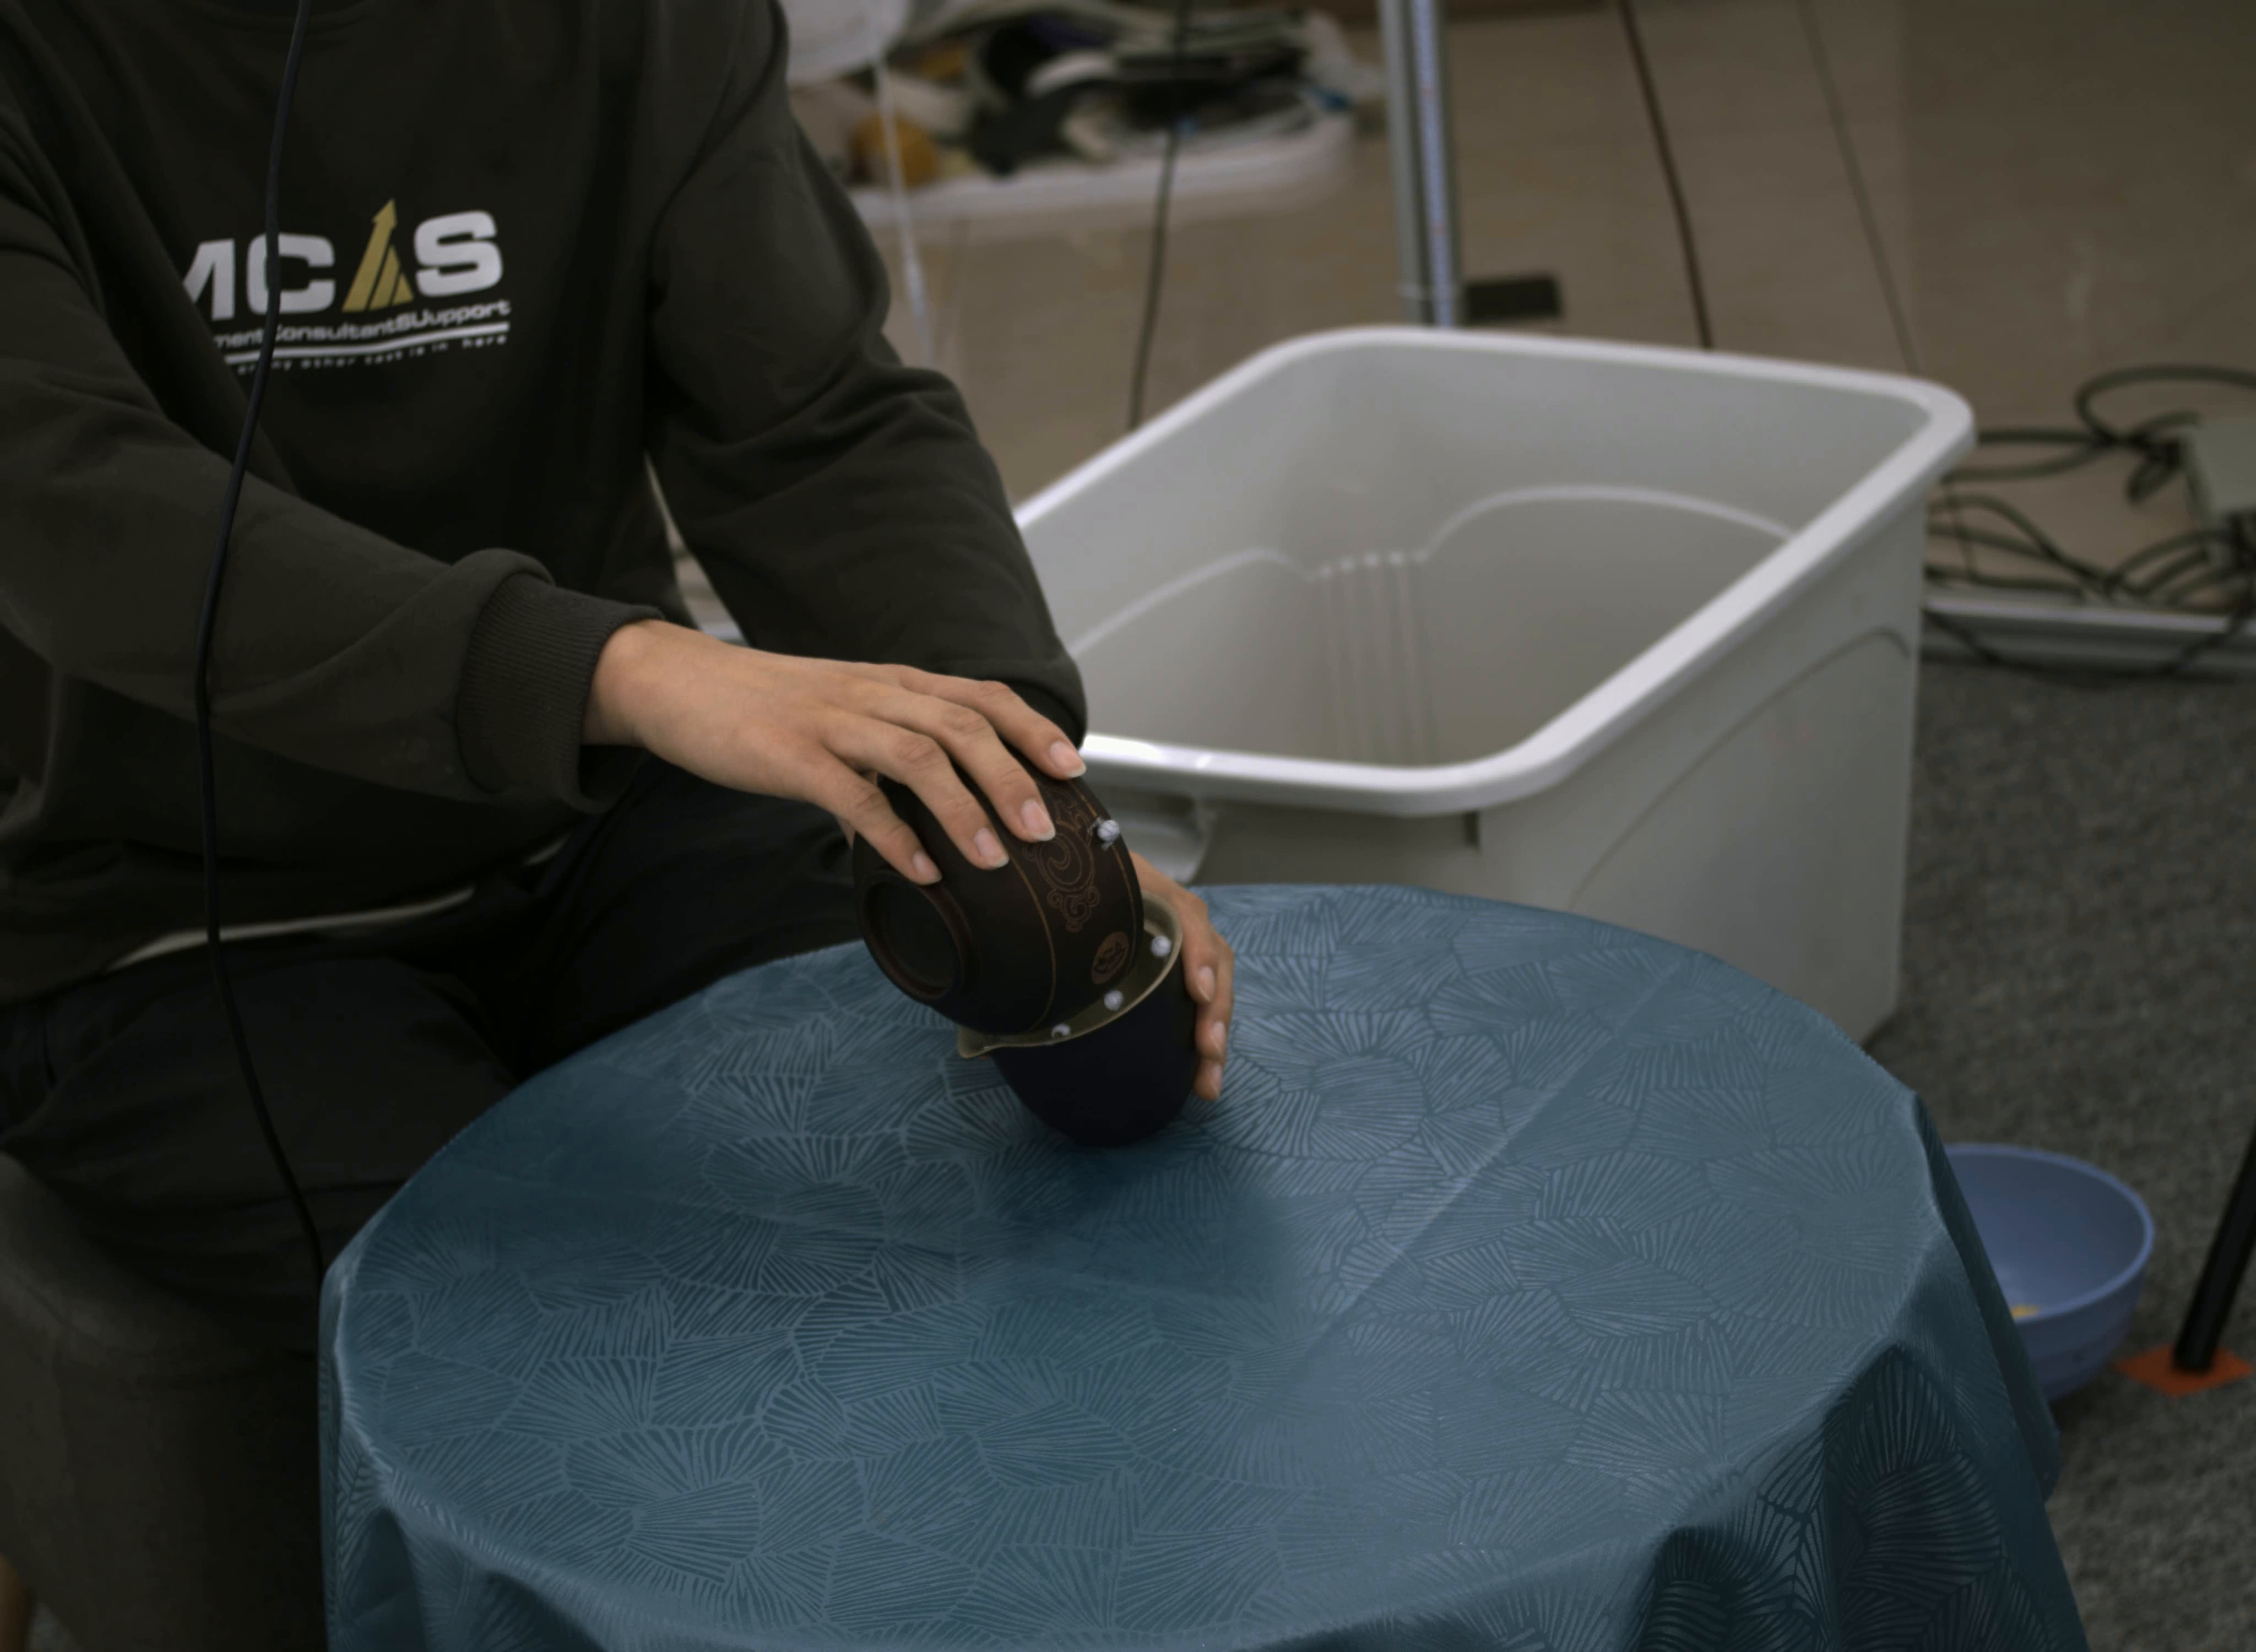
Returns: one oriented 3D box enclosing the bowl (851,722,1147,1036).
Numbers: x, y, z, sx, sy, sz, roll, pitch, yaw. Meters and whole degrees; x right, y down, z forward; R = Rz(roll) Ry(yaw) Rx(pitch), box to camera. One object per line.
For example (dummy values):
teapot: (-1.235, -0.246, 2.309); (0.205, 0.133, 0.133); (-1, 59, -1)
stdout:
bowl: (-0.057, 0.027, 2.118); (0.117, 0.120, 0.069); (18, 43, 41)

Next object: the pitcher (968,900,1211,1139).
pitcher: (-0.011, 0.081, 2.177); (0.095, 0.072, 0.082); (-37, 39, -13)
